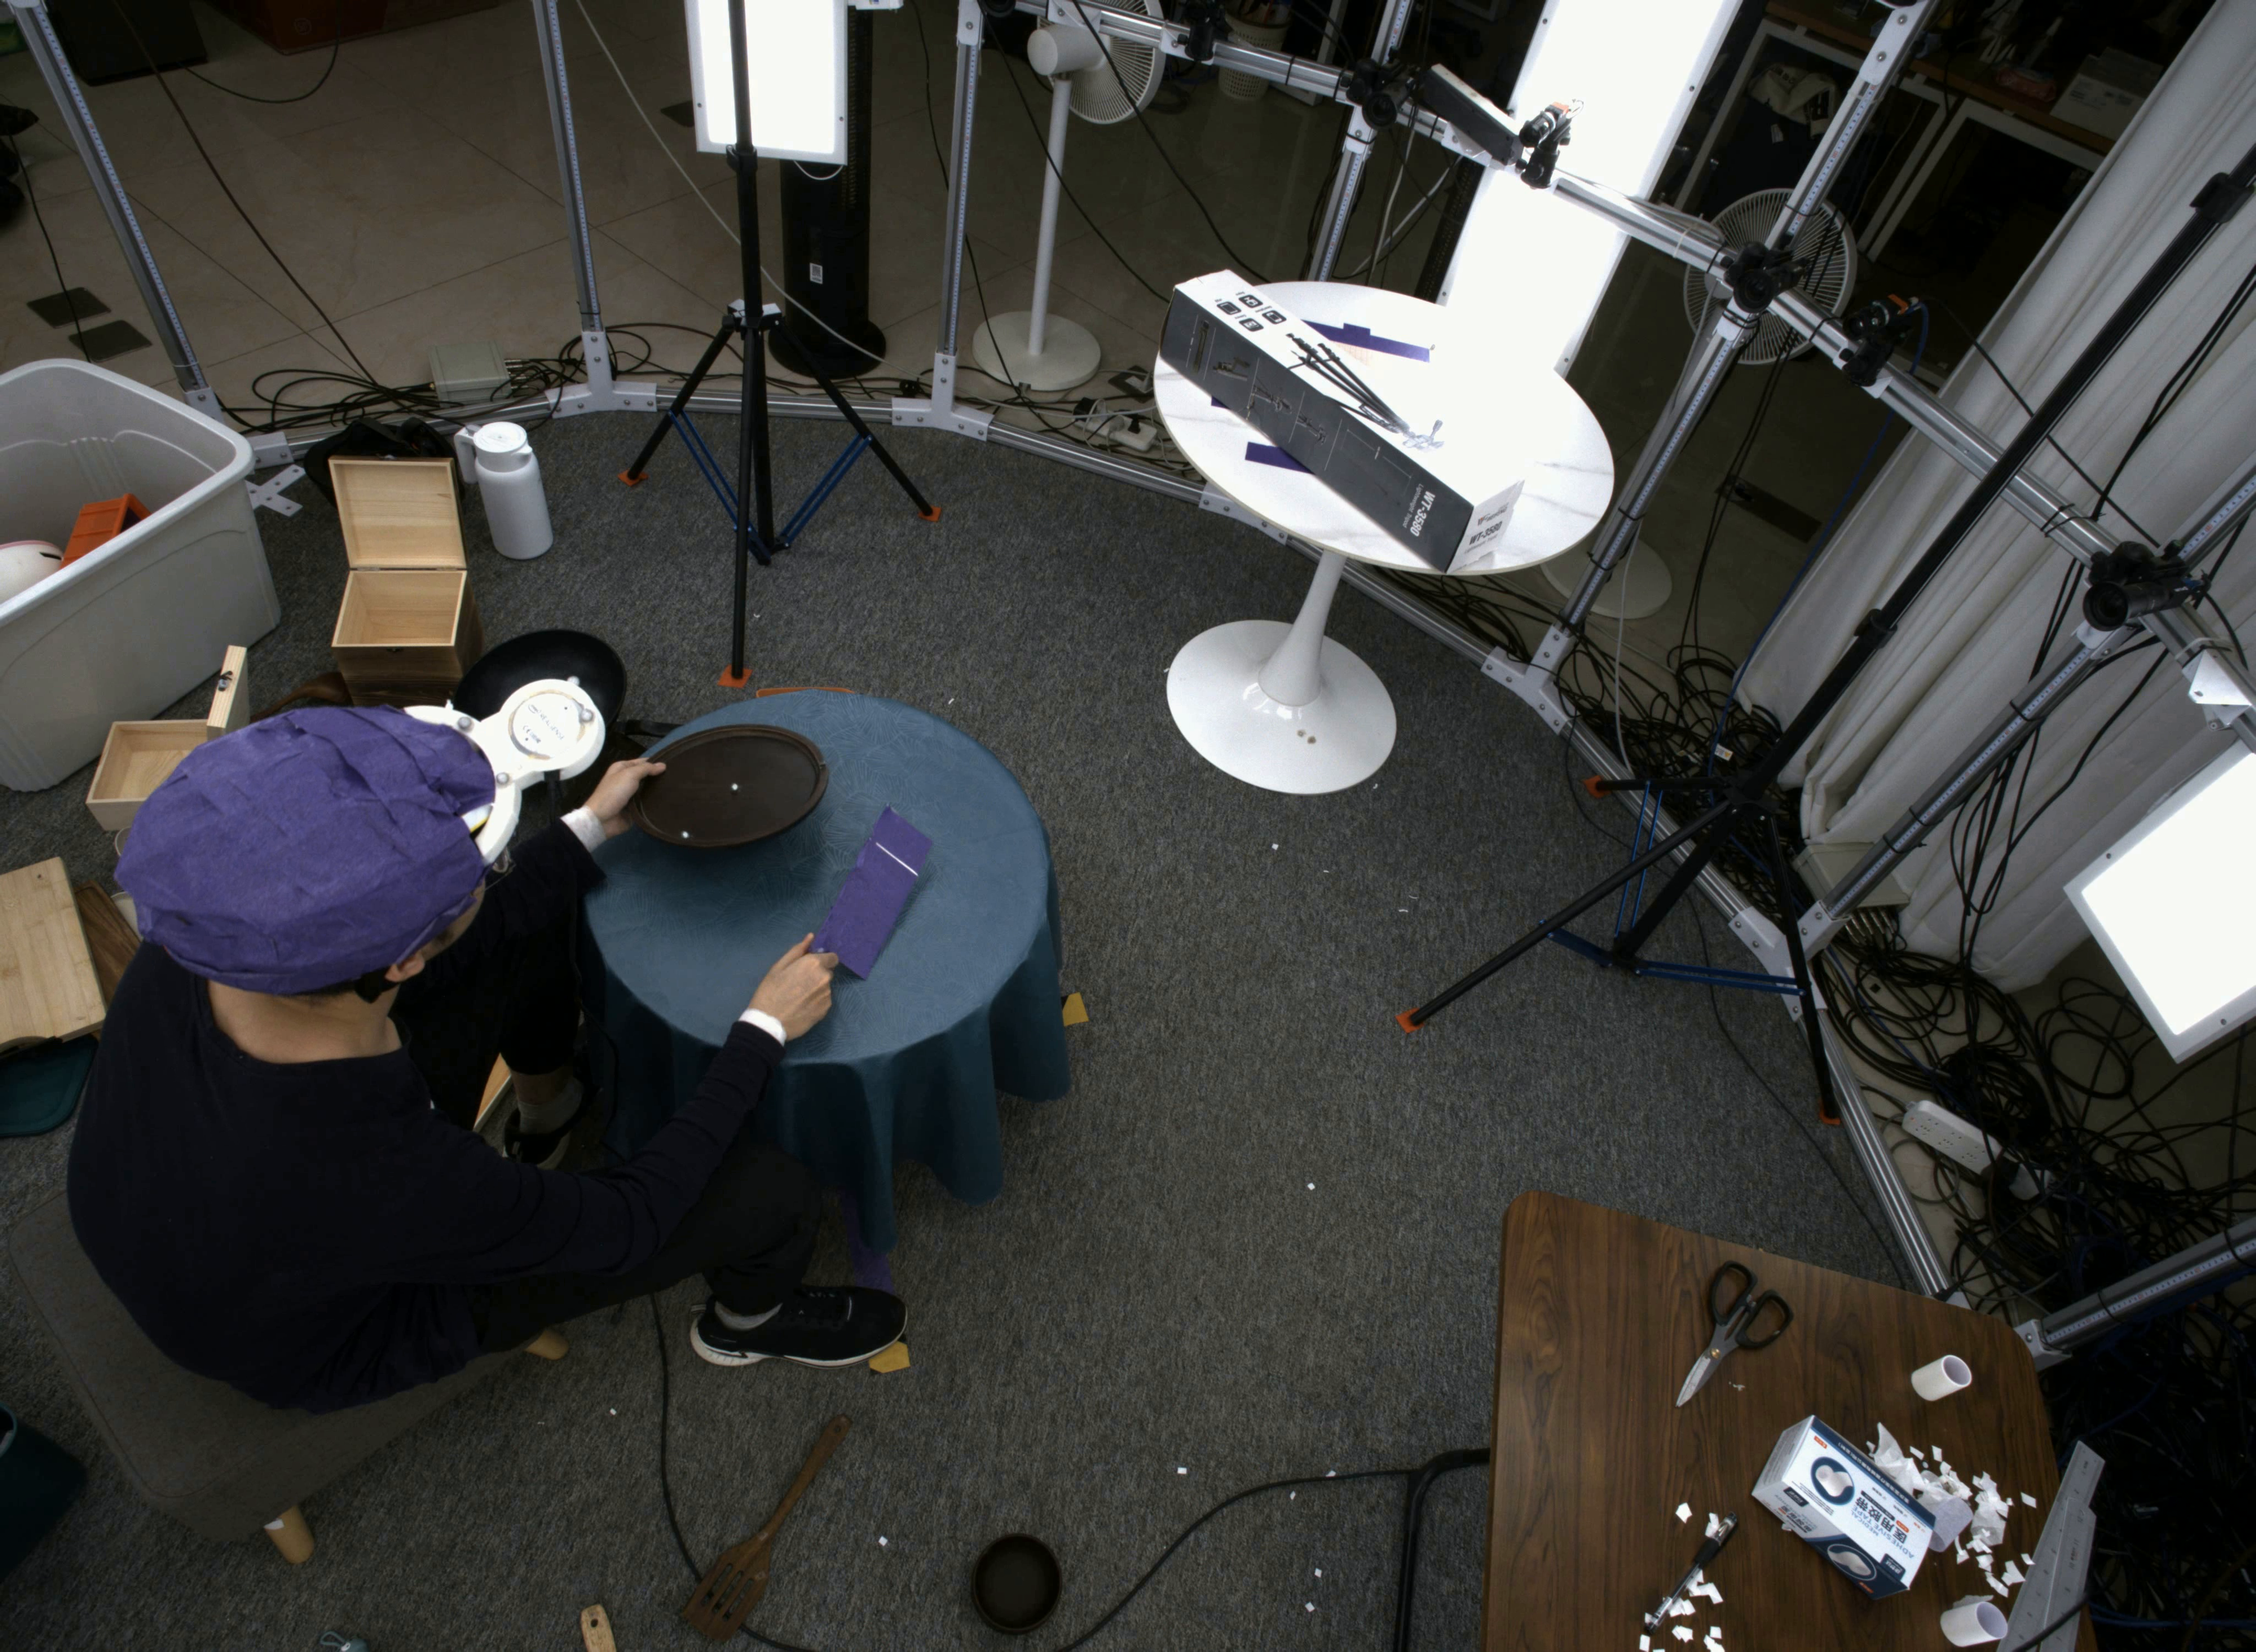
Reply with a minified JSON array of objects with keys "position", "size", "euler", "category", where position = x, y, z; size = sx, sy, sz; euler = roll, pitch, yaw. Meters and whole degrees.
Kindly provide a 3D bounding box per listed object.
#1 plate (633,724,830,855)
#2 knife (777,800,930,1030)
[{"position":[-0.507,-0.050,1.651],"size":[0.252,0.030,0.249],"euler":[3,41,-1],"category":"plate"},{"position":[-0.331,0.121,1.616],"size":[0.107,0.031,0.313],"euler":[41,58,-33],"category":"knife"}]
